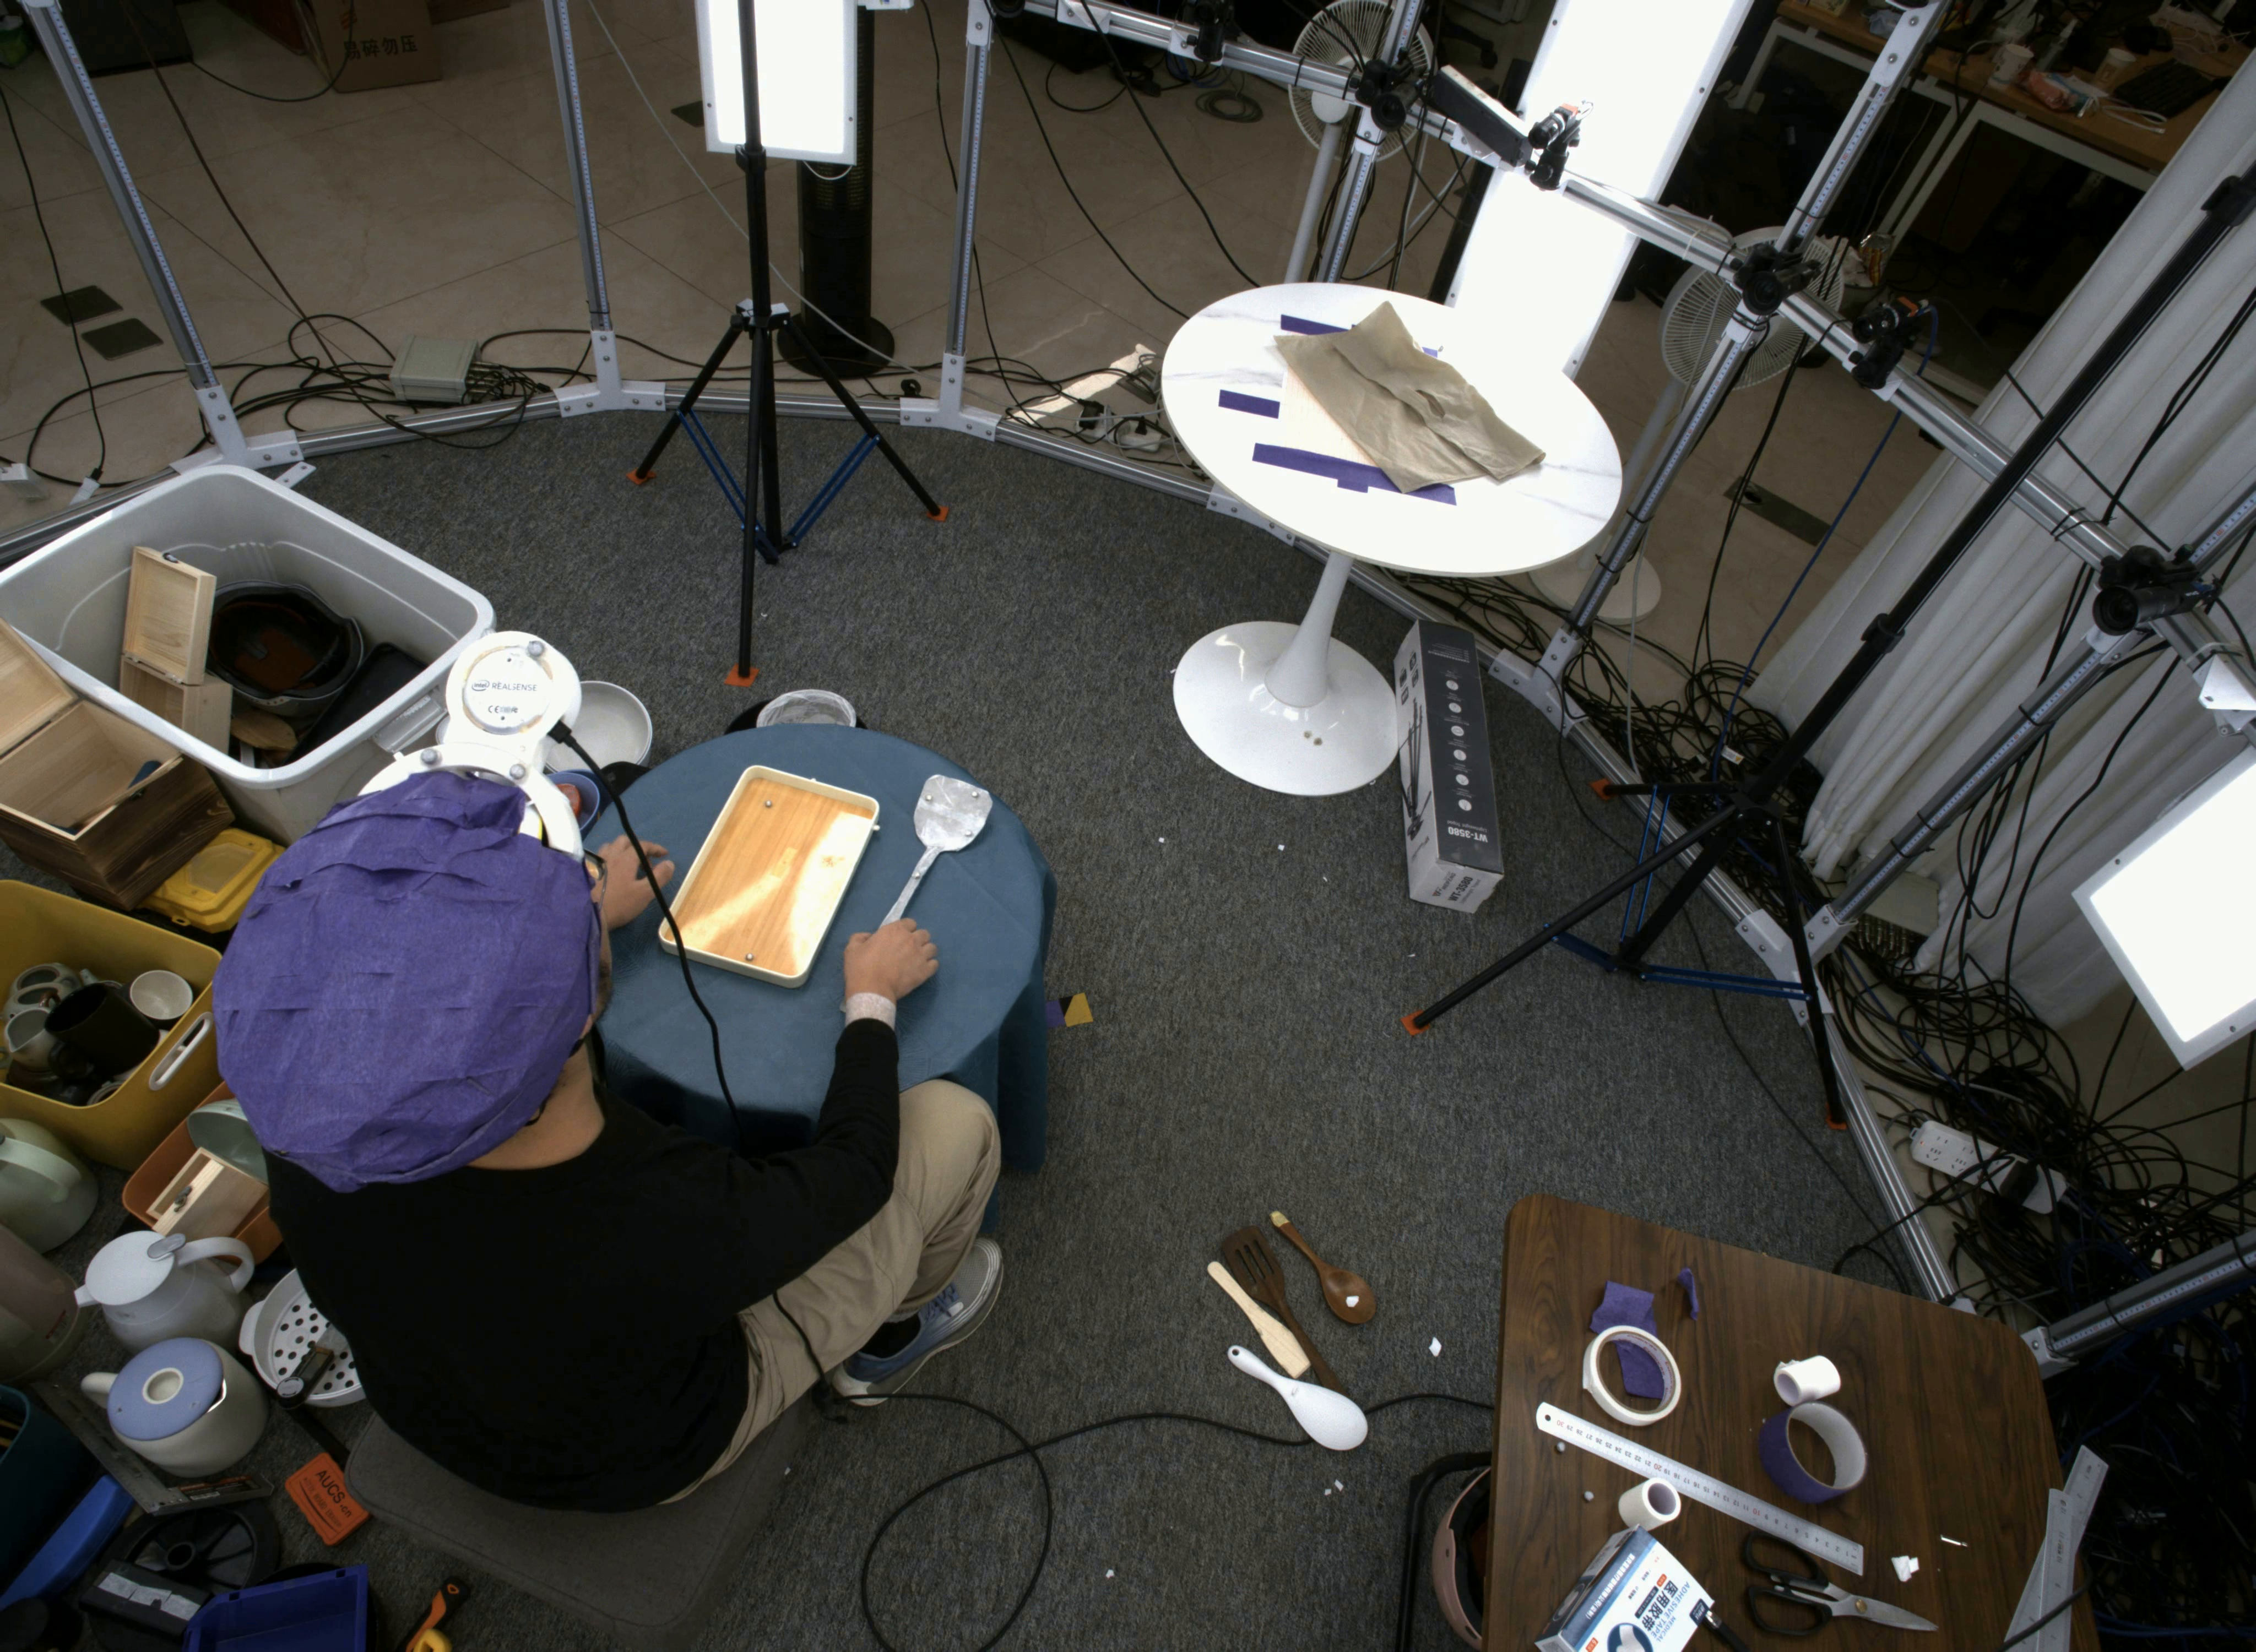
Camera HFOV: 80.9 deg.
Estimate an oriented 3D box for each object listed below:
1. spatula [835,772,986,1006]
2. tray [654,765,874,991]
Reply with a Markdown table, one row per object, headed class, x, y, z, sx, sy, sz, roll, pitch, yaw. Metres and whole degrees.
| class | x | y | z | sx | sy | sz | roll | pitch | yaw |
| --- | --- | --- | --- | --- | --- | --- | --- | --- | --- |
| spatula | -0.289 | 0.076 | 1.673 | 0.098 | 0.045 | 0.361 | 21 | 51 | 2 |
| tray | -0.458 | 0.058 | 1.649 | 0.190 | 0.028 | 0.296 | 17 | 52 | -2 |
